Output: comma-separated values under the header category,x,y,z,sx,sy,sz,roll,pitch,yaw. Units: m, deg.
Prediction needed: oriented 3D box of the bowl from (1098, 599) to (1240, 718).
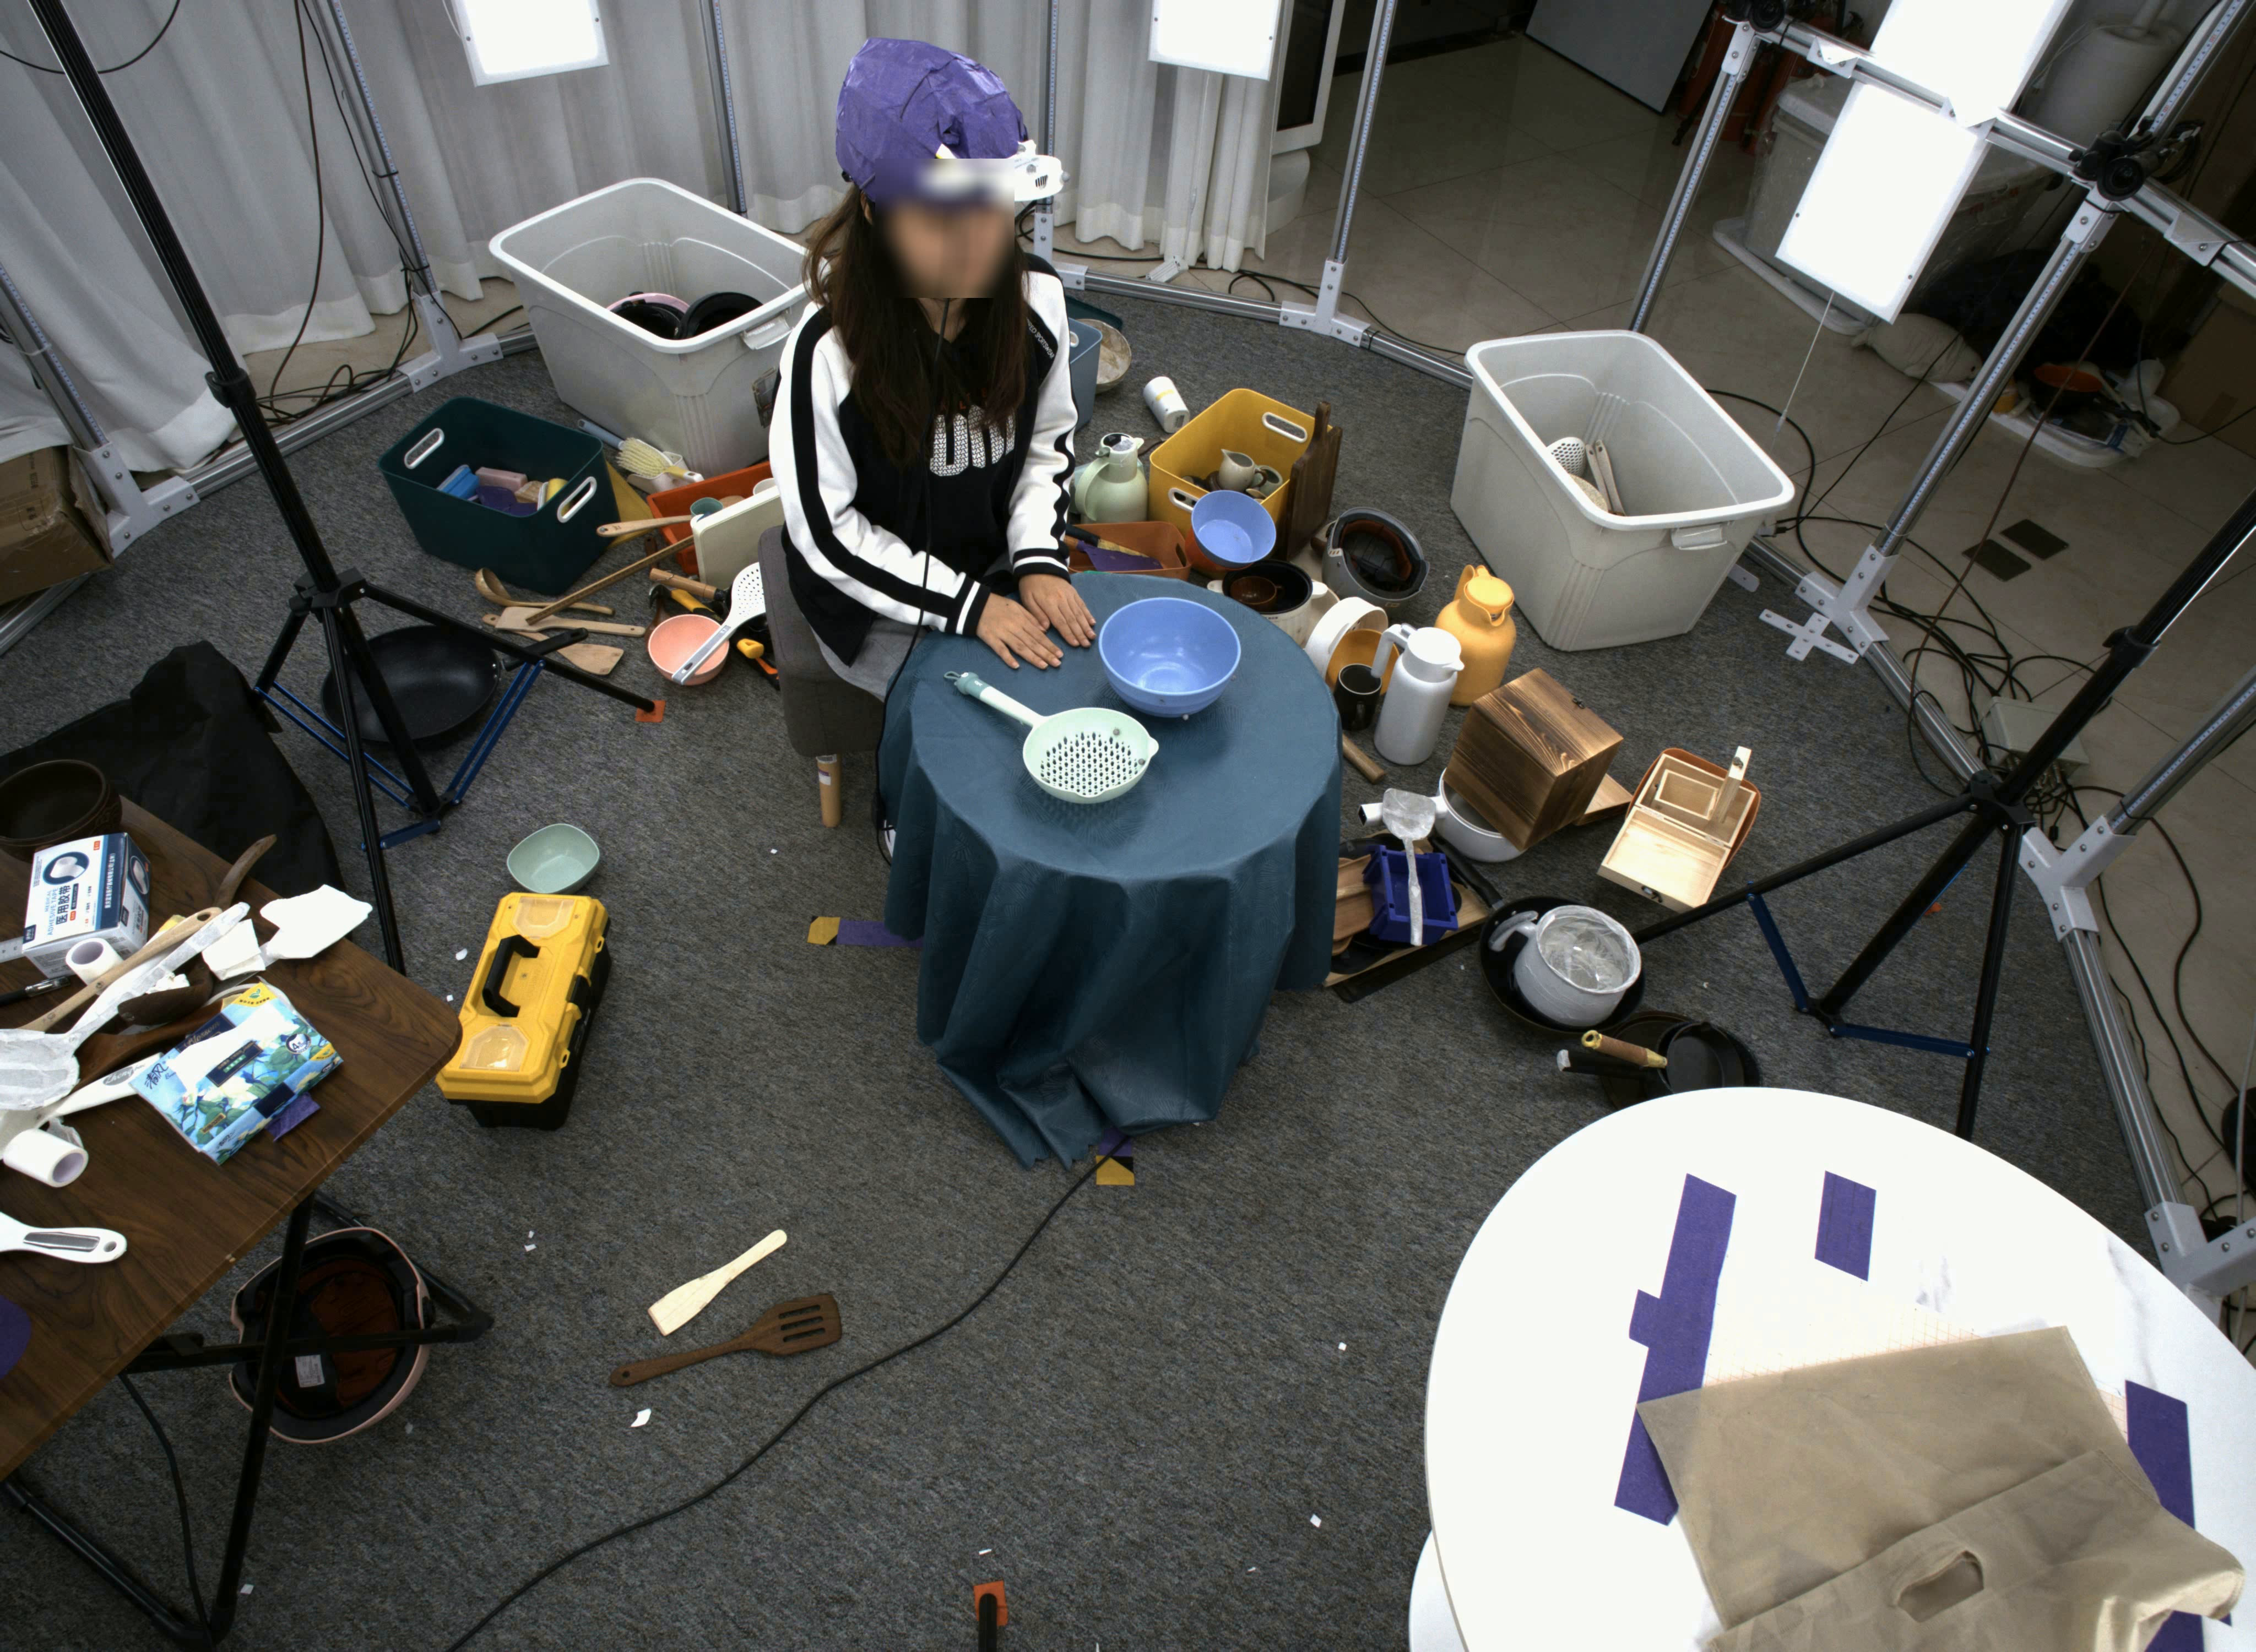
category,x,y,z,sx,sy,sz,roll,pitch,yaw
bowl,0.055,-0.220,1.804,0.196,0.093,0.201,1,49,-2

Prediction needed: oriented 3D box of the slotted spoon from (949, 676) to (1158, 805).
category,x,y,z,sx,sy,sz,roll,pitch,yaw
slotted spoon,-0.123,-0.135,1.742,0.364,0.073,0.171,37,55,27
